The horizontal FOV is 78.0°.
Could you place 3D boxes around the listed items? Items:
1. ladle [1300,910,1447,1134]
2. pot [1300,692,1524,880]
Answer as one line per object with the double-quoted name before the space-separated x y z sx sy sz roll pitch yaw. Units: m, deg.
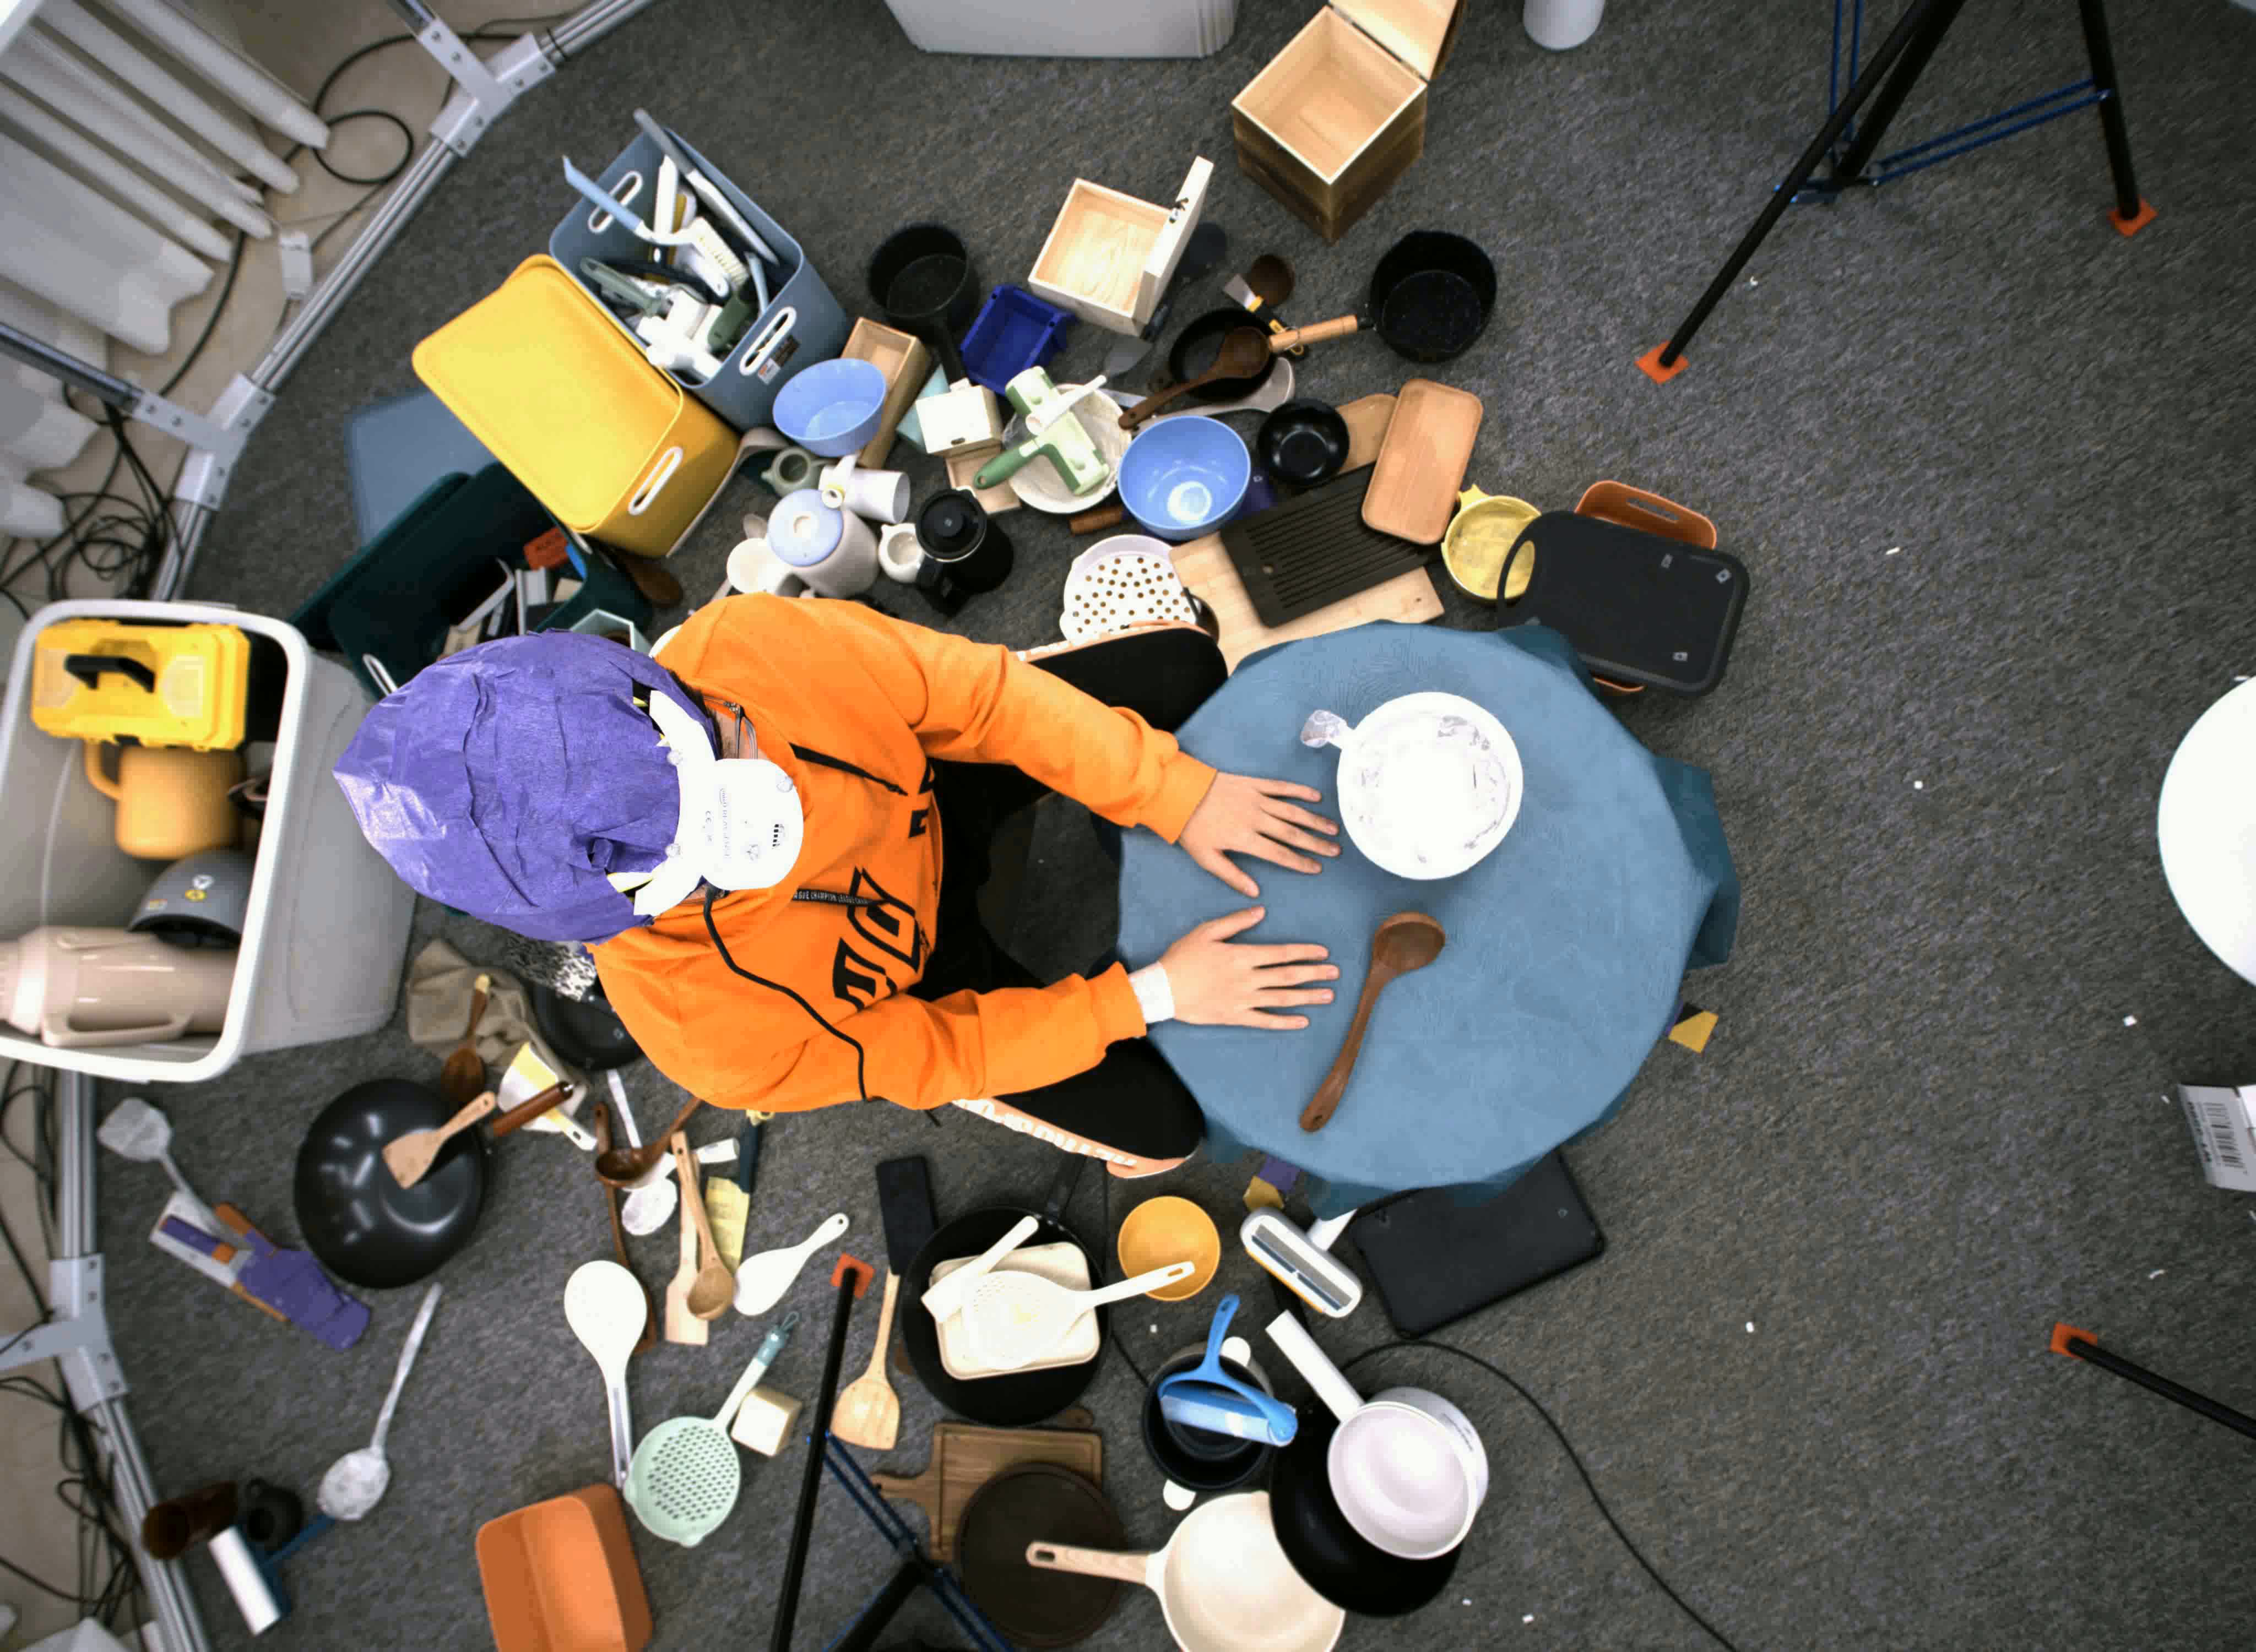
"ladle" 0.248 0.205 1.426 0.077 0.065 0.260 25 91 -15
"pot" 0.278 -0.051 1.396 0.233 0.137 0.179 30 91 11
